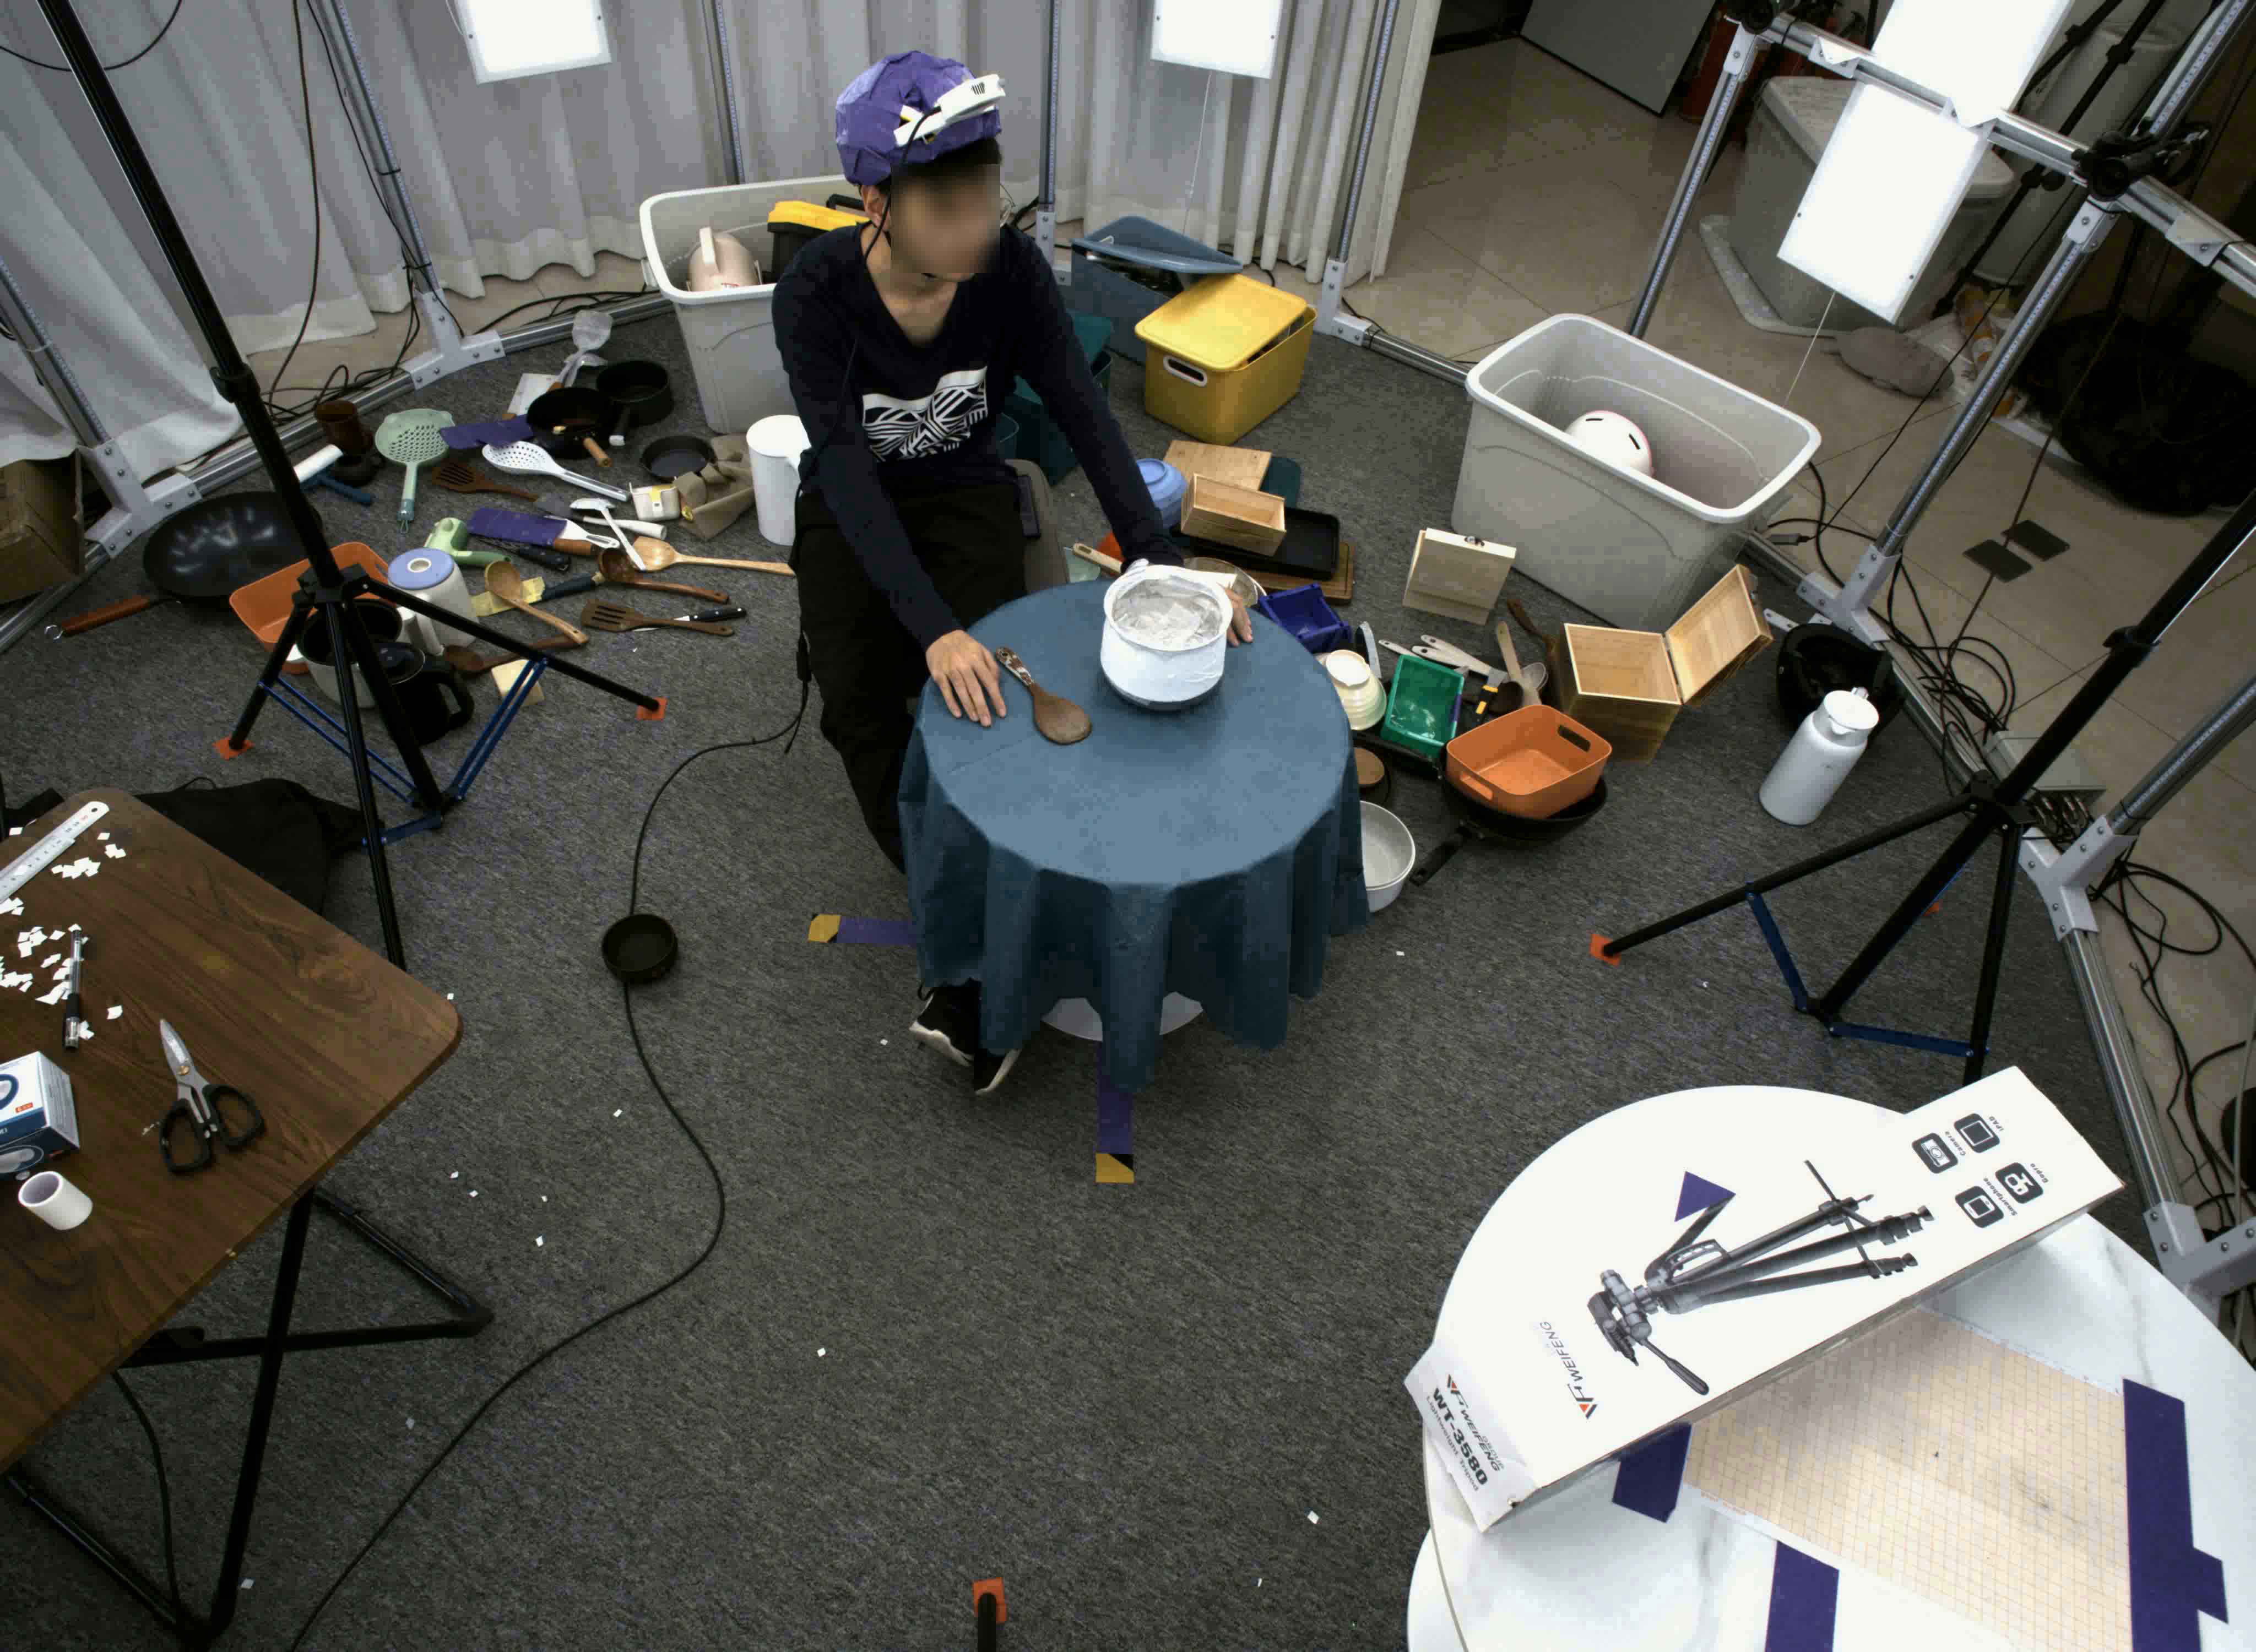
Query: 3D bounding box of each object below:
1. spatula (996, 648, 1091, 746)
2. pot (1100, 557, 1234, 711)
[{"bbox_3d":[-0.126,-0.189,1.820,0.072,0.009,0.220,-23,54,-24],"label":"spatula"},{"bbox_3d":[0.041,-0.282,1.825,0.179,0.133,0.239,-13,53,-18],"label":"pot"}]
